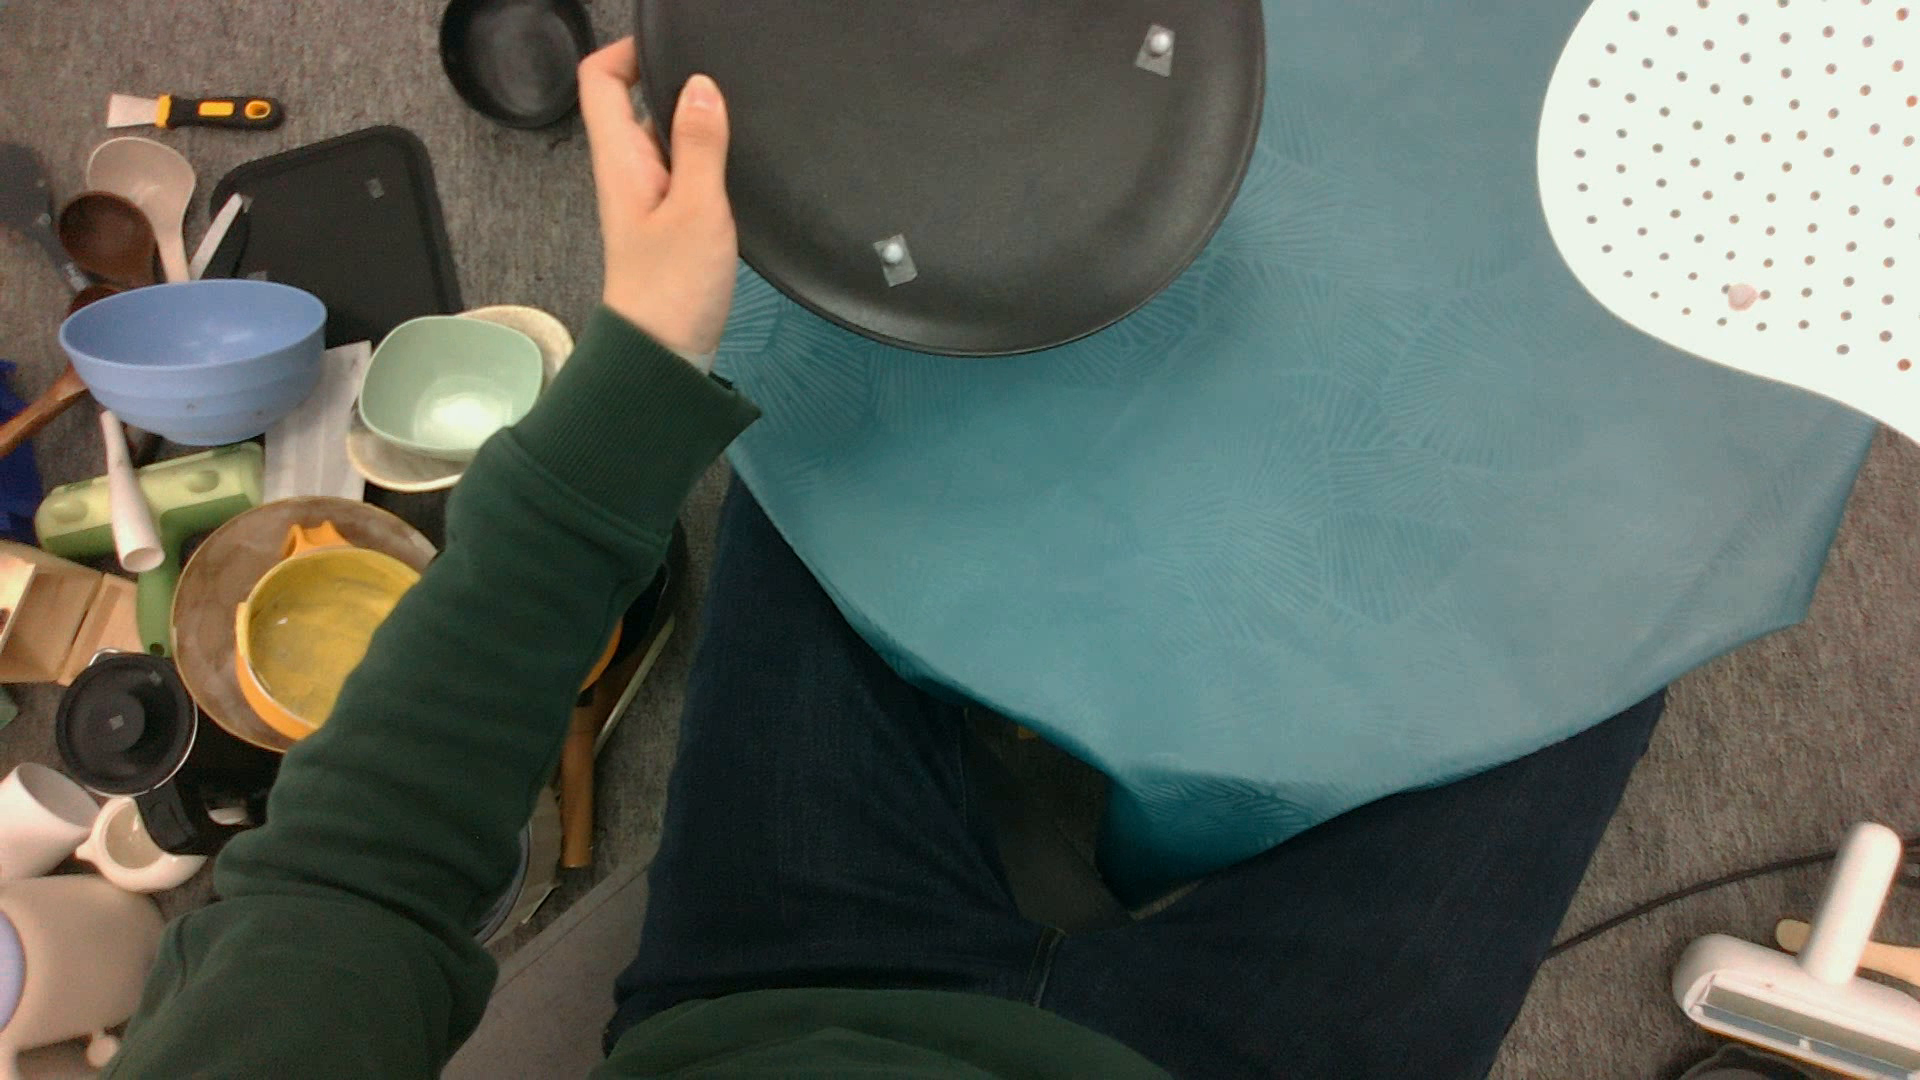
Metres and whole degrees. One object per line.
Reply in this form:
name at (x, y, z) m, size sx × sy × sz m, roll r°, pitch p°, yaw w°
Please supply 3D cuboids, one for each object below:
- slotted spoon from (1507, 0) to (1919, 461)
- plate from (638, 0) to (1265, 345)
slotted spoon at (0.285, -0.033, 0.387) m, size 0.135 × 0.046 × 0.350 m, roll -40°, pitch 65°, yaw 37°
plate at (0.001, -0.195, 0.533) m, size 0.244 × 0.023 × 0.244 m, roll 0°, pitch 90°, yaw -12°
